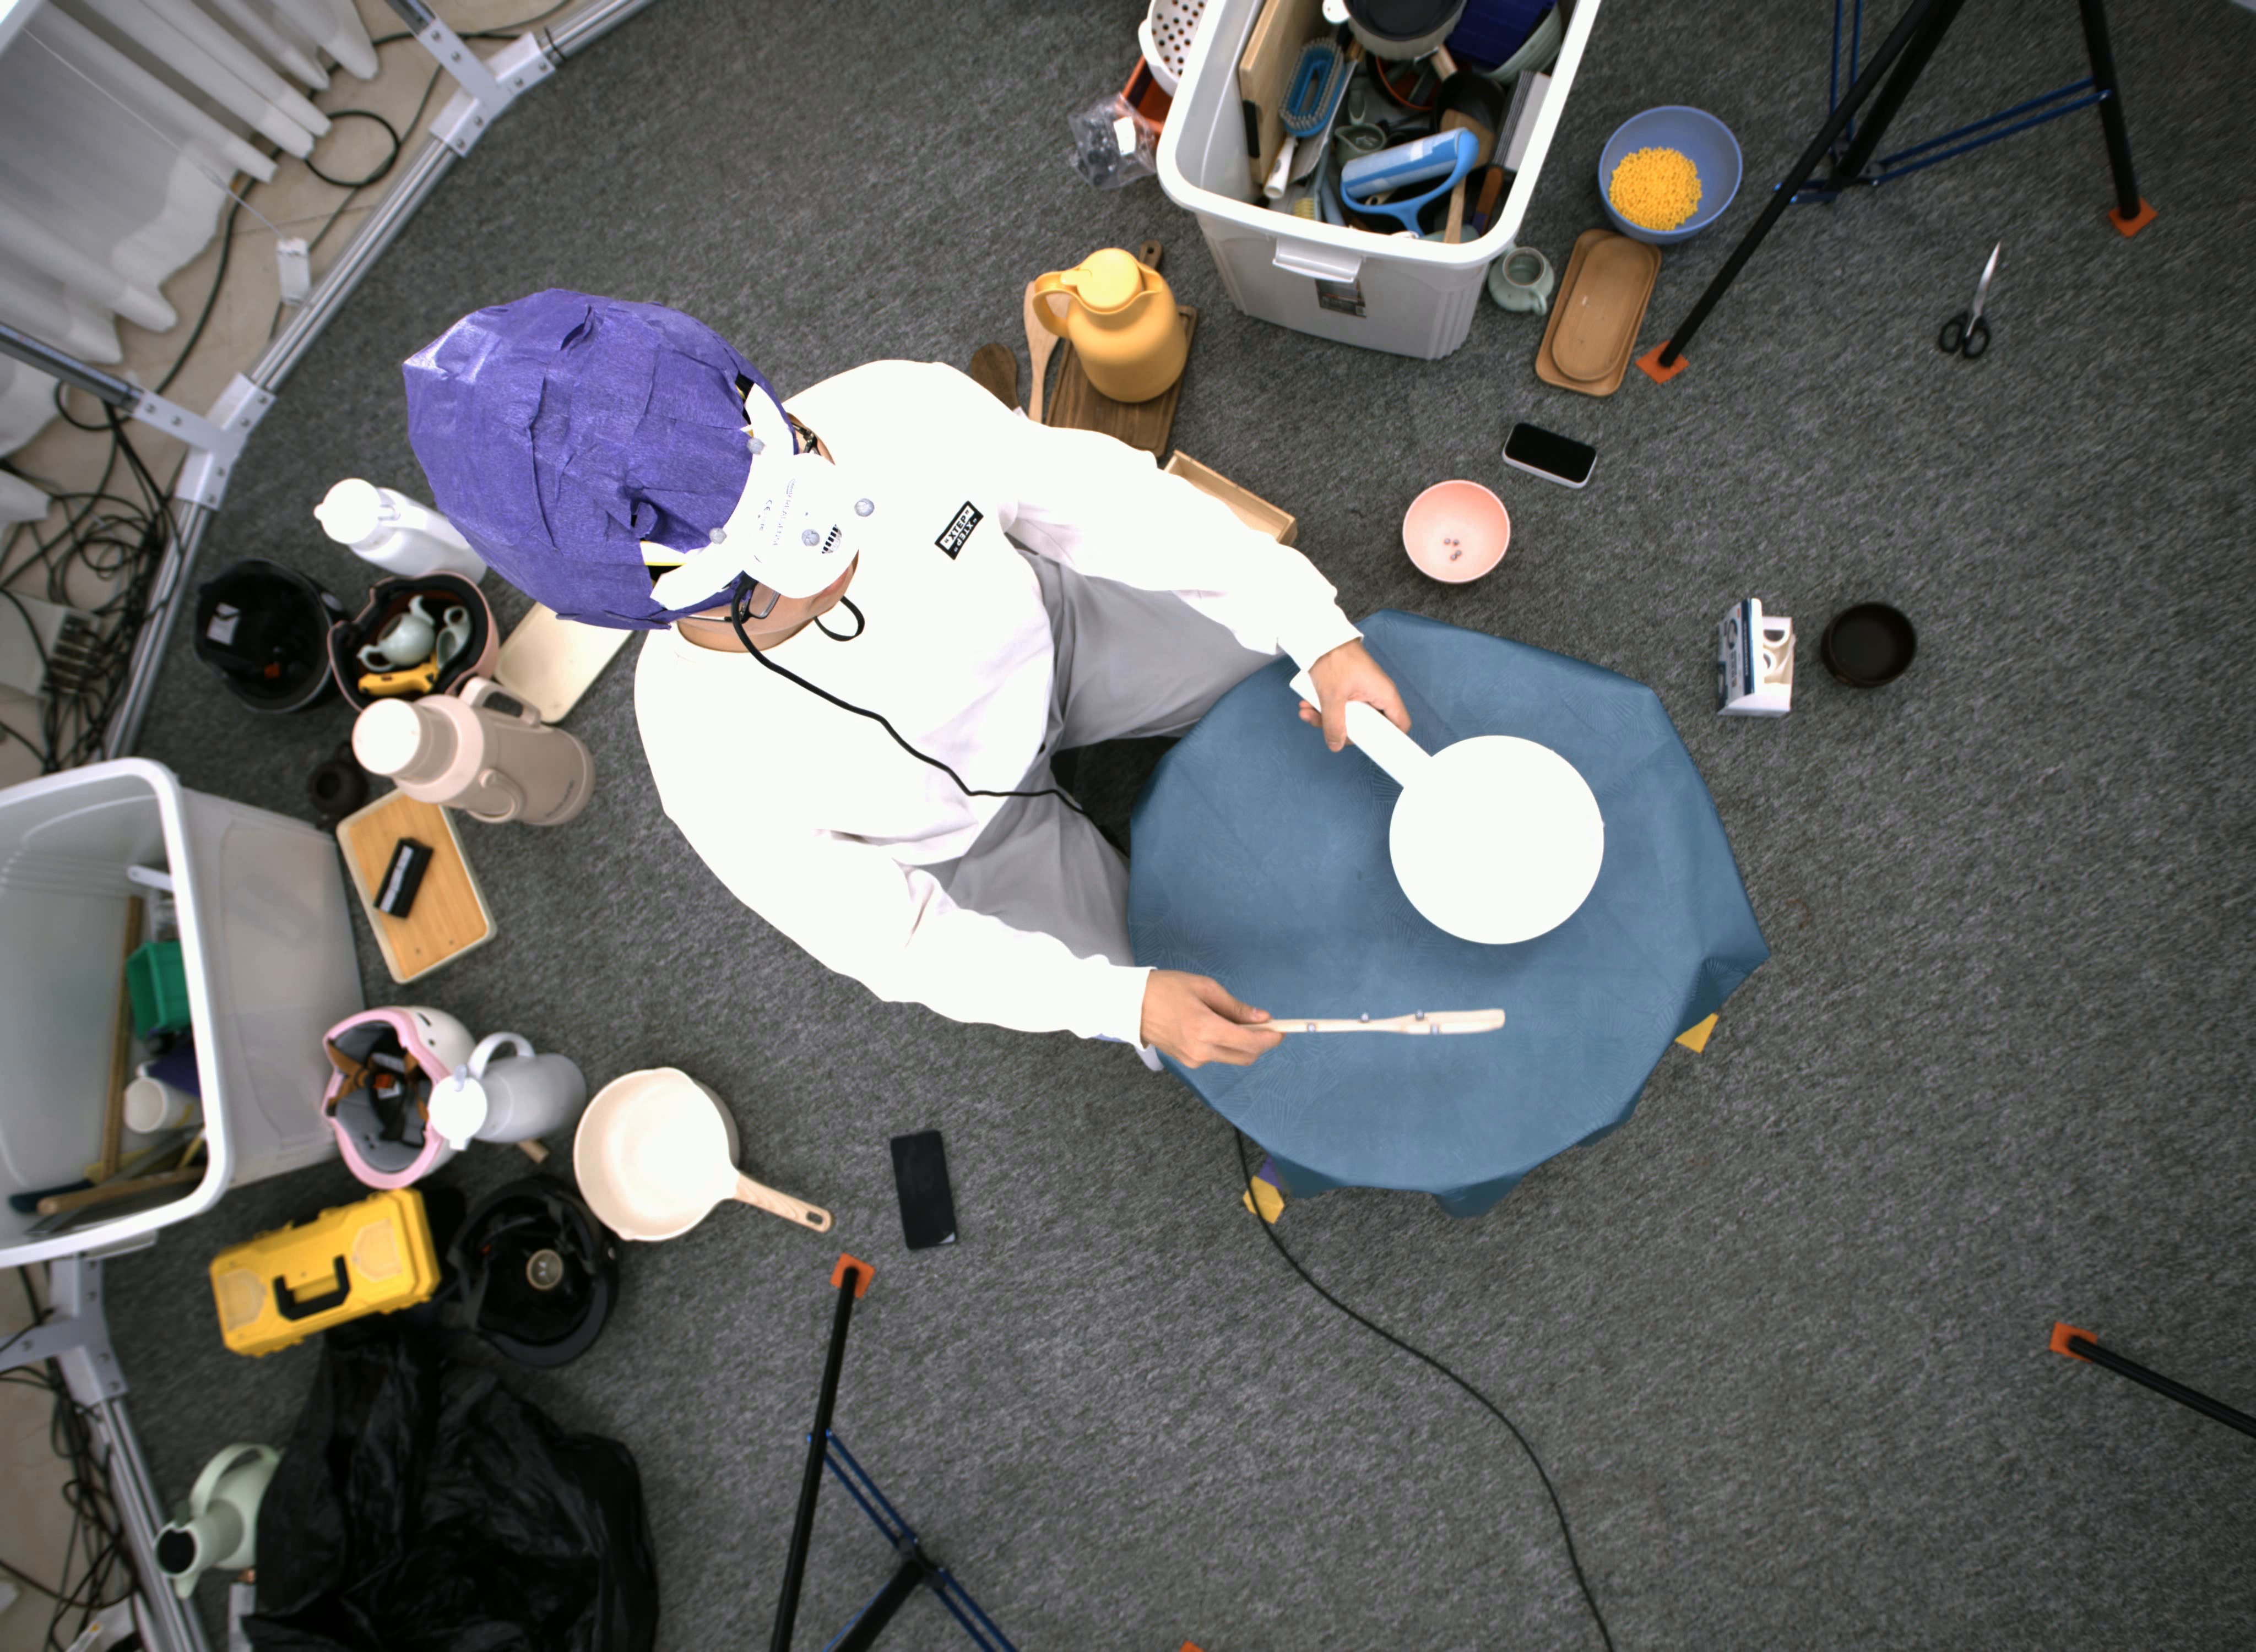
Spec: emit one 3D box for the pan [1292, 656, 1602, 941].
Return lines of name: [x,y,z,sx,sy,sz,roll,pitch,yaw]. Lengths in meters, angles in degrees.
pan: [0.312,-0.038,1.395,0.353,0.102,0.203,43,100,12]

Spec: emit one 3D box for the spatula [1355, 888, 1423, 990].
spatula: [0.420,0.091,1.986,0.072,0.010,0.293,28,92,13]
